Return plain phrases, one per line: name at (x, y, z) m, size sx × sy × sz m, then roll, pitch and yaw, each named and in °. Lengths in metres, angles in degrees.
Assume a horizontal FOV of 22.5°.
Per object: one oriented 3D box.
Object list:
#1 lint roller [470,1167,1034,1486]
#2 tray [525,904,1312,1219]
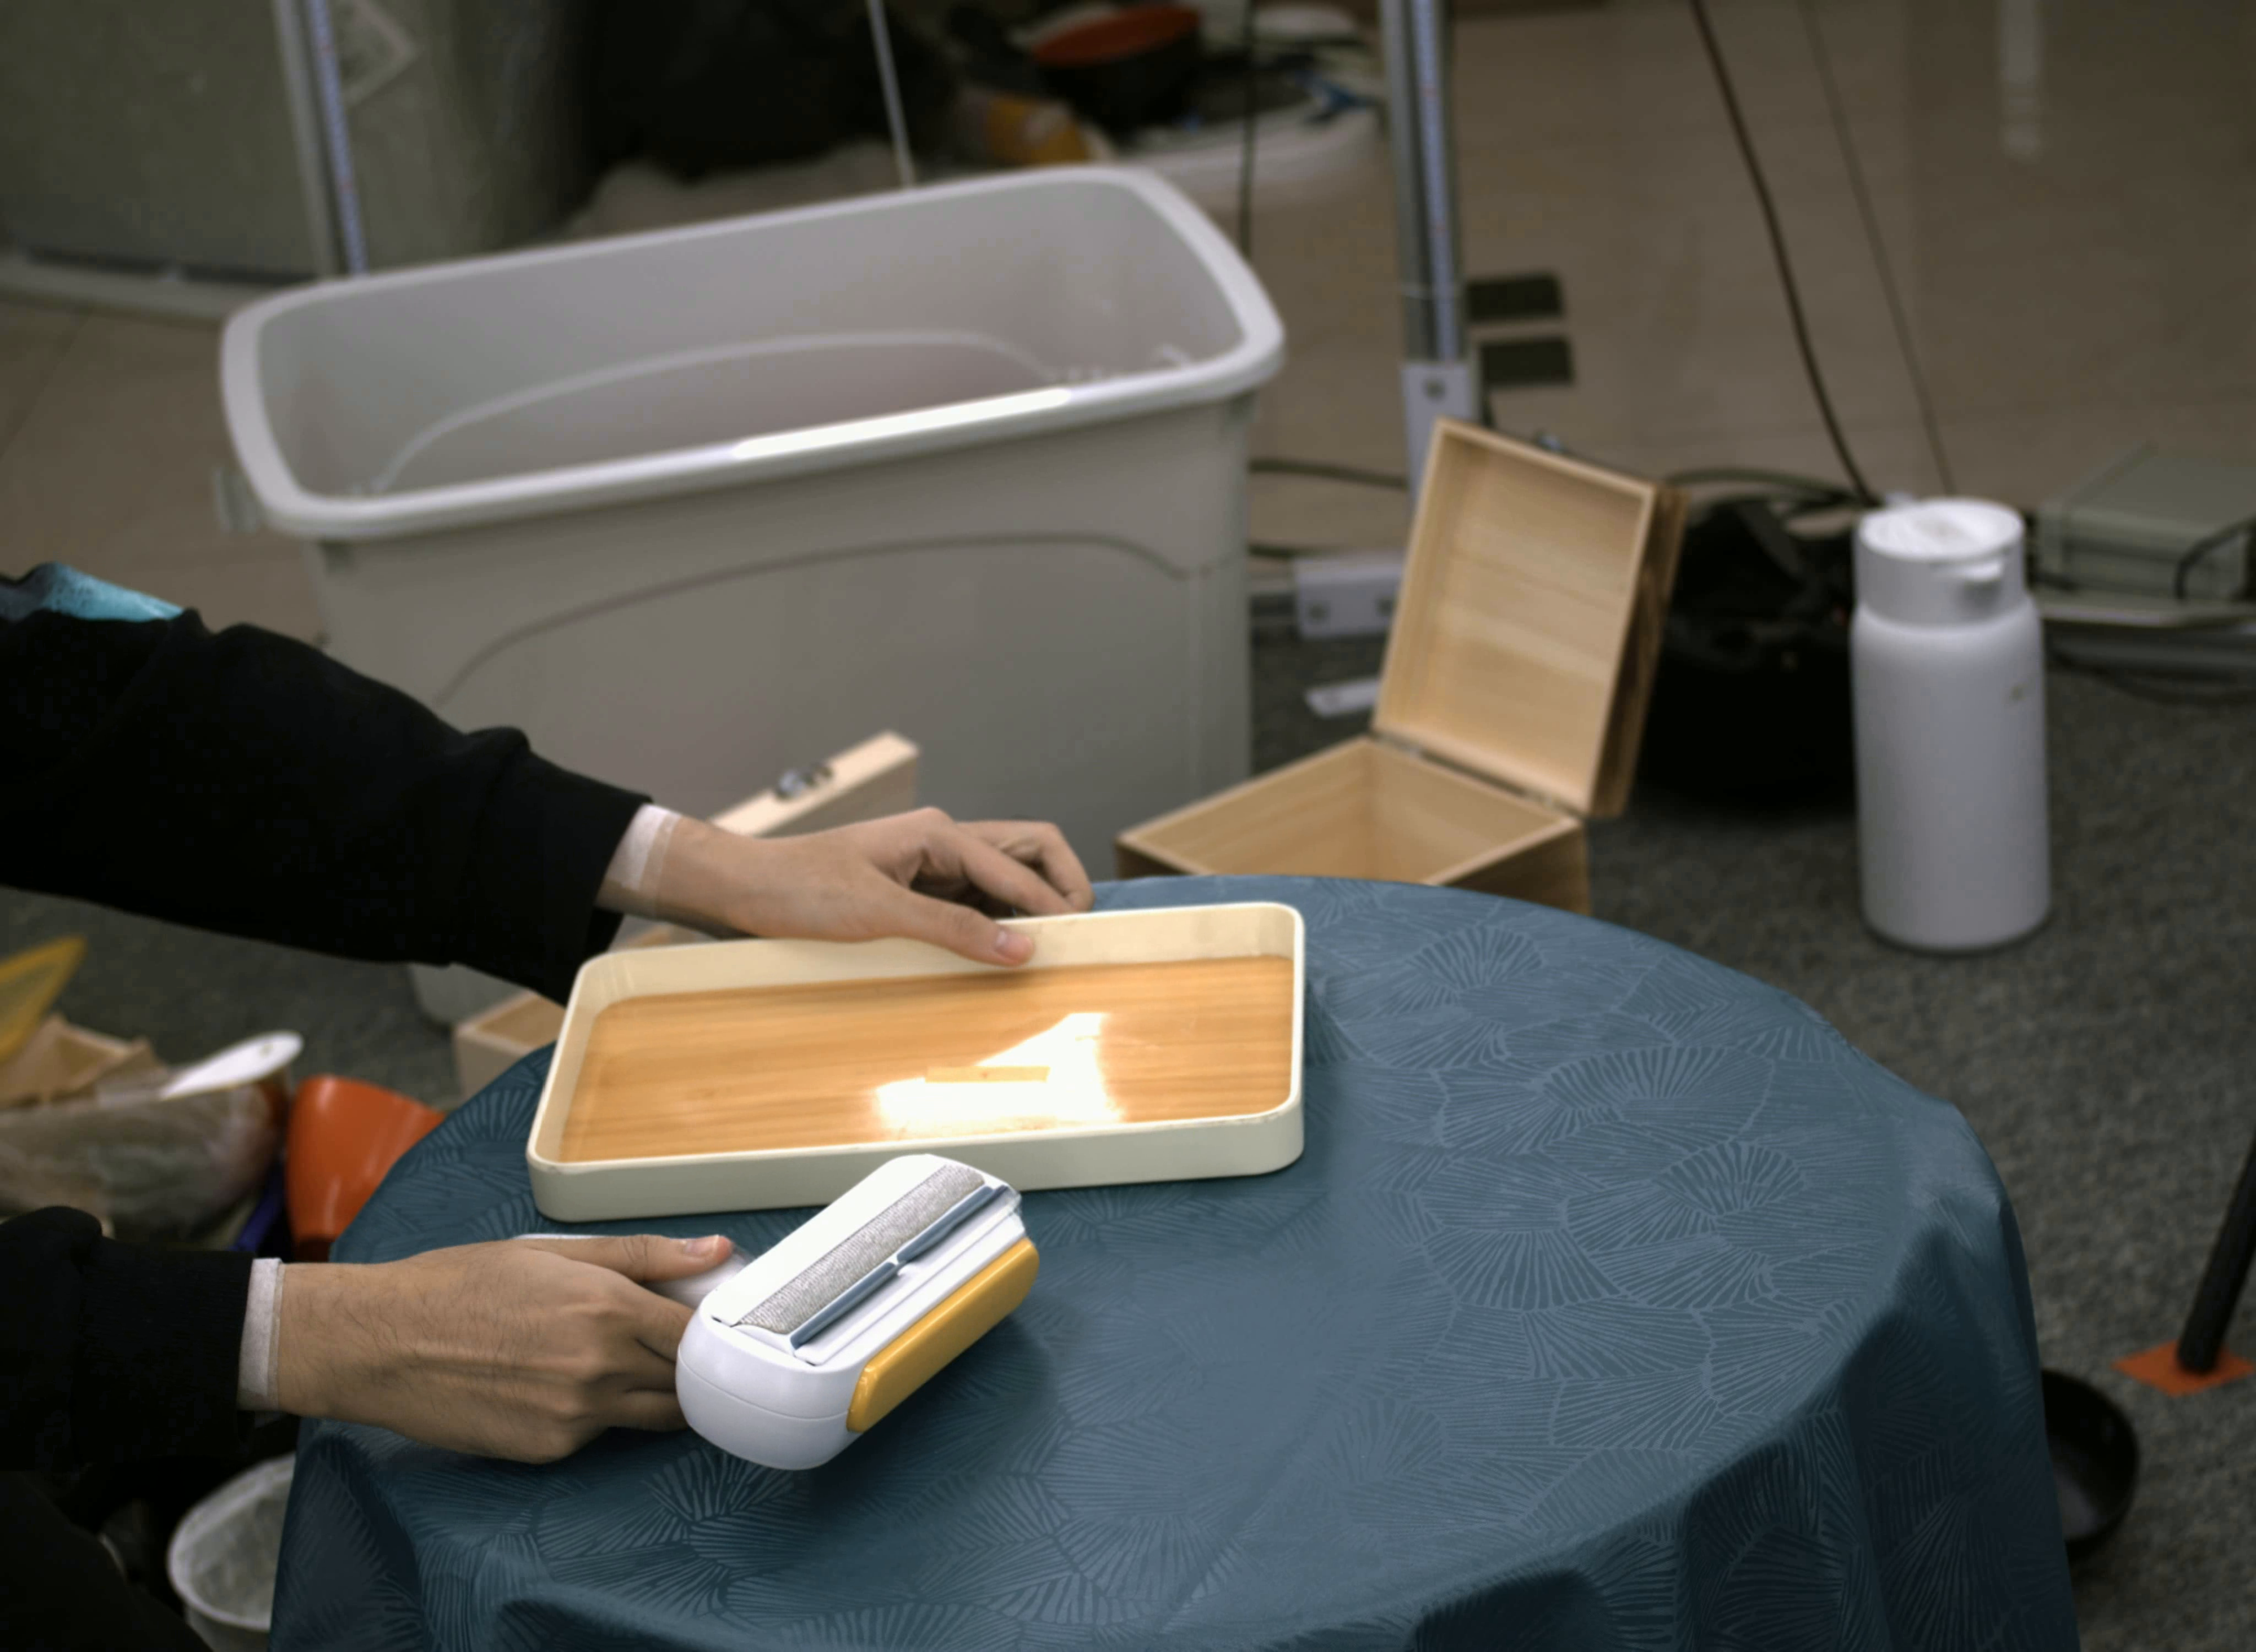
lint roller at (-0.150, 0.165, 2.024) m, size 0.191 × 0.075 × 0.191 m, roll 16°, pitch 27°, yaw 24°
tray at (-0.078, 0.092, 2.233) m, size 0.300 × 0.028 × 0.189 m, roll -4°, pitch 24°, yaw 5°
